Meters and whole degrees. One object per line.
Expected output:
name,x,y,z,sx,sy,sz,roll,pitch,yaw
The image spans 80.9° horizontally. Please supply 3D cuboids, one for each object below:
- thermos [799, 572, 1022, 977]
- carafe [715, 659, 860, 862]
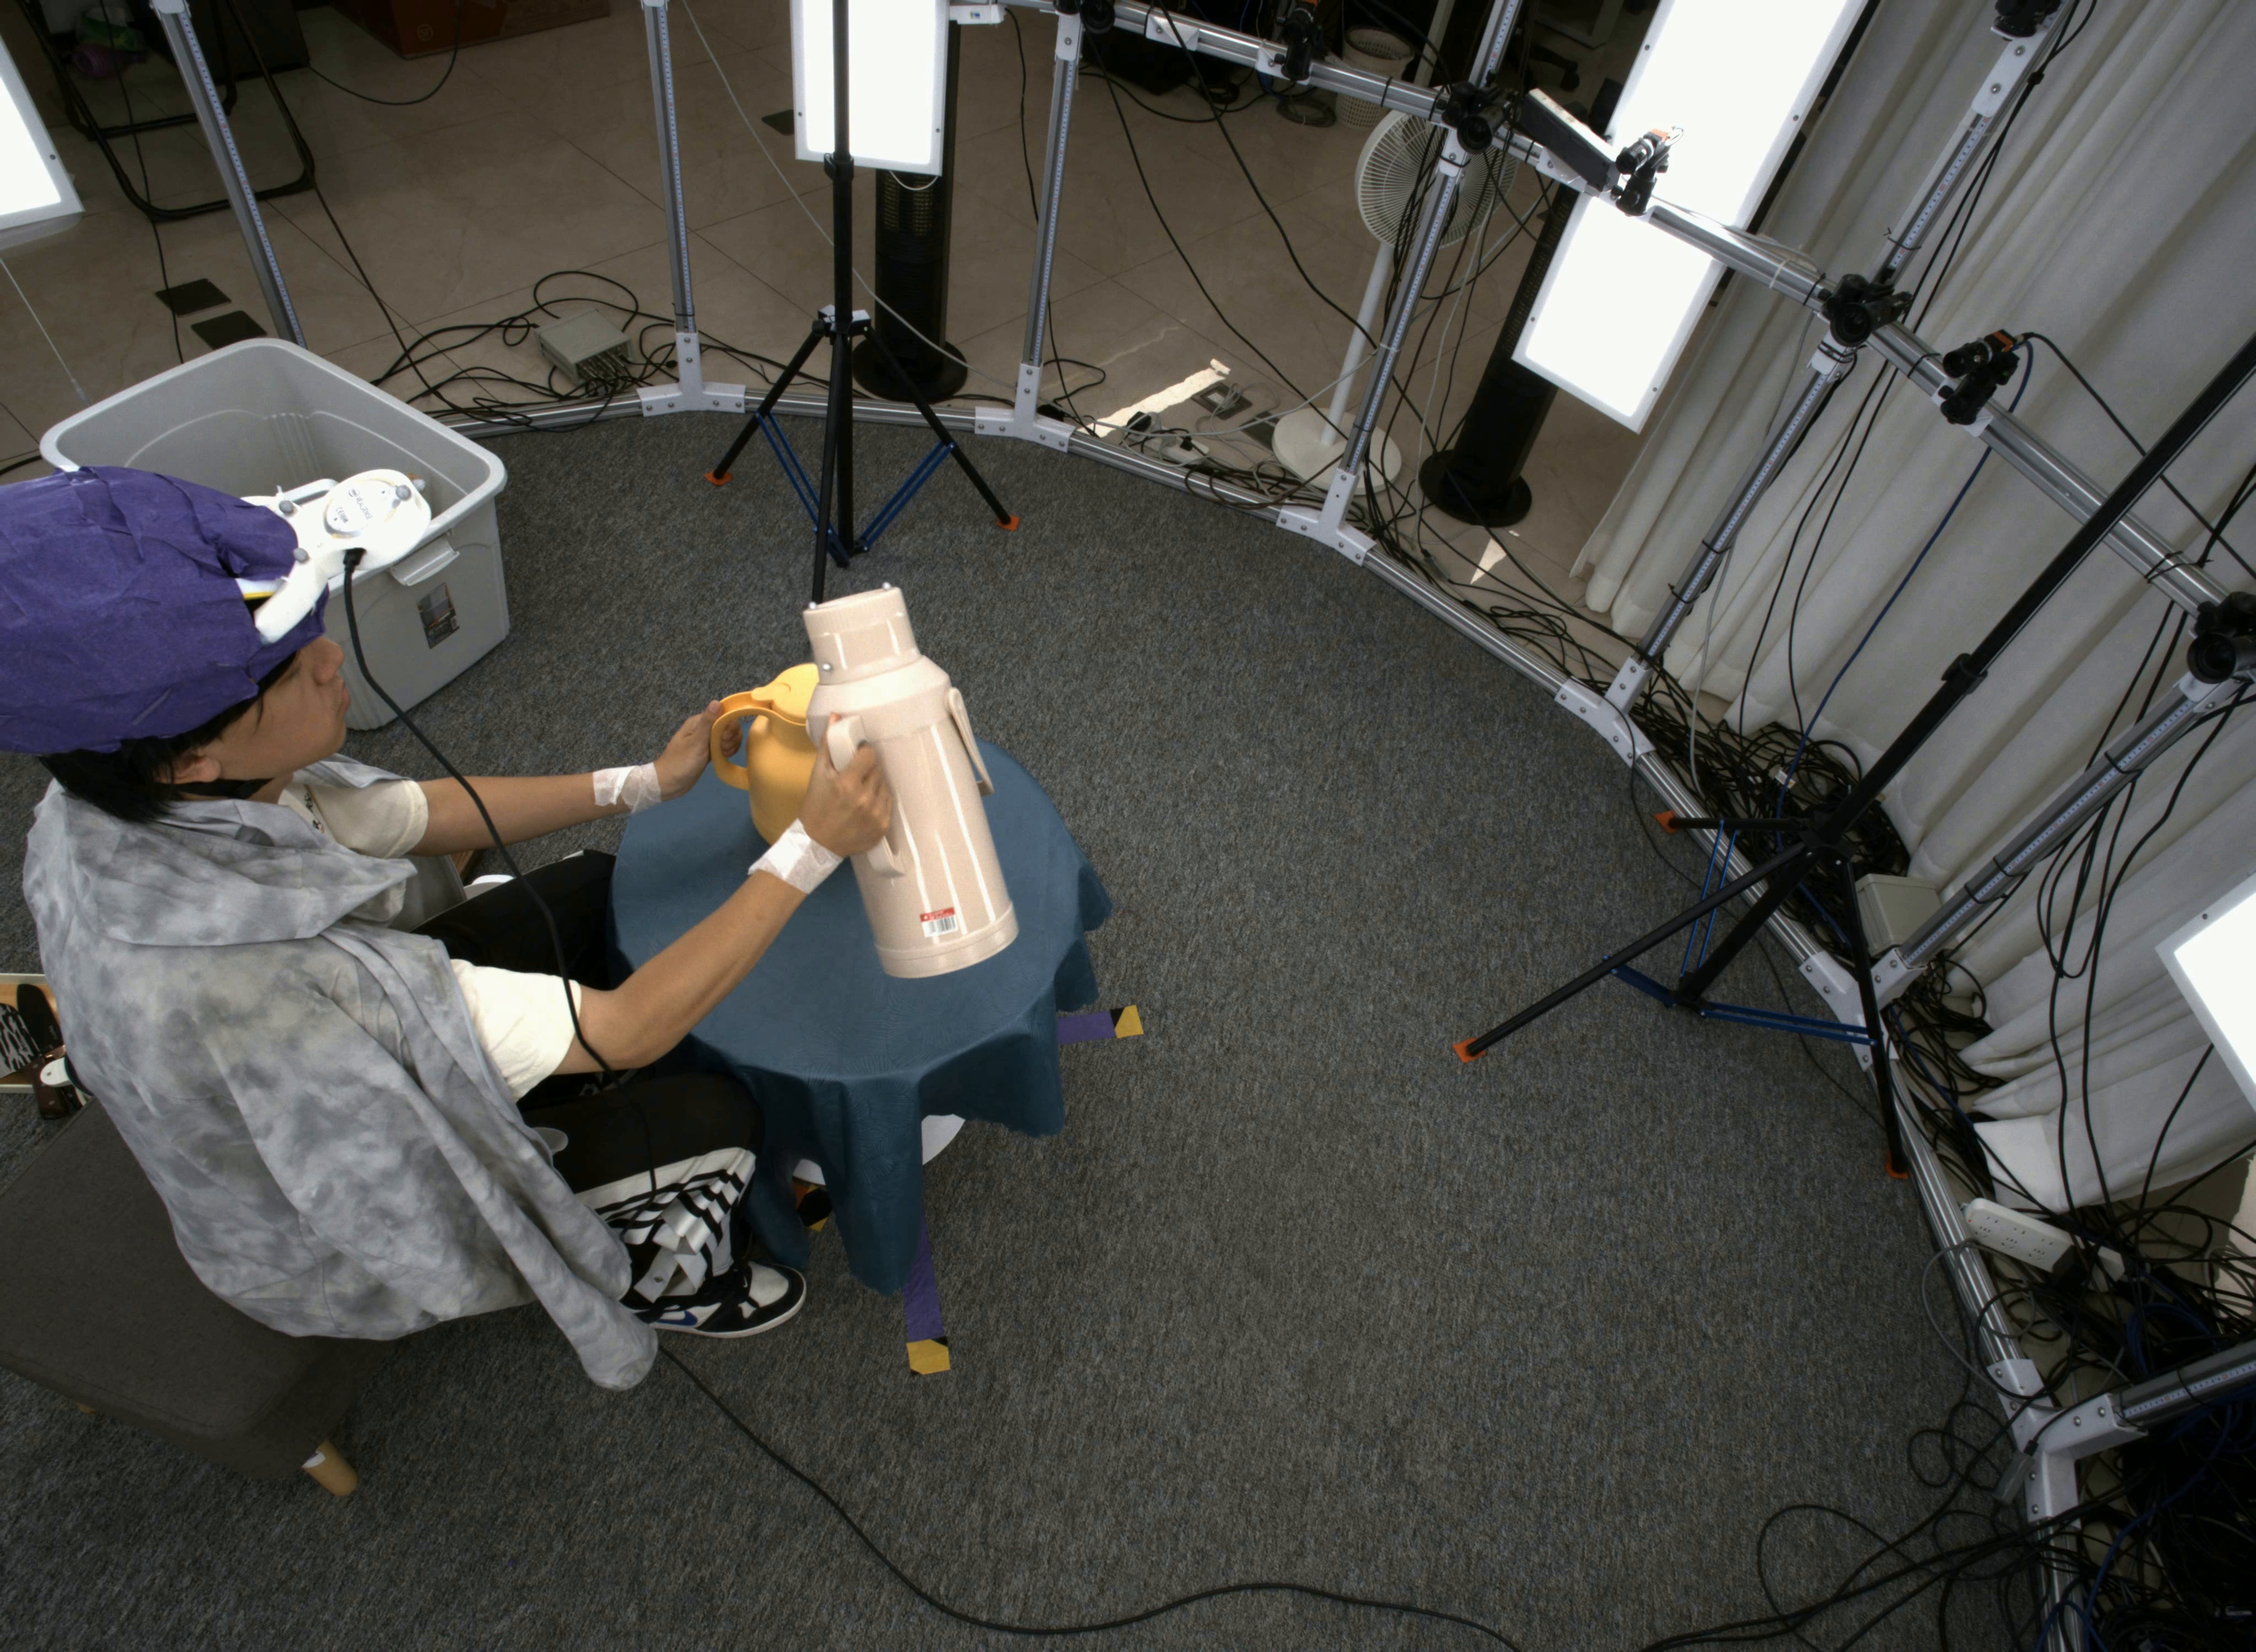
thermos,-0.245,-0.050,1.378,0.171,0.418,0.206,-9,17,16
carafe,-0.412,-0.087,1.626,0.203,0.266,0.159,-3,51,-15
